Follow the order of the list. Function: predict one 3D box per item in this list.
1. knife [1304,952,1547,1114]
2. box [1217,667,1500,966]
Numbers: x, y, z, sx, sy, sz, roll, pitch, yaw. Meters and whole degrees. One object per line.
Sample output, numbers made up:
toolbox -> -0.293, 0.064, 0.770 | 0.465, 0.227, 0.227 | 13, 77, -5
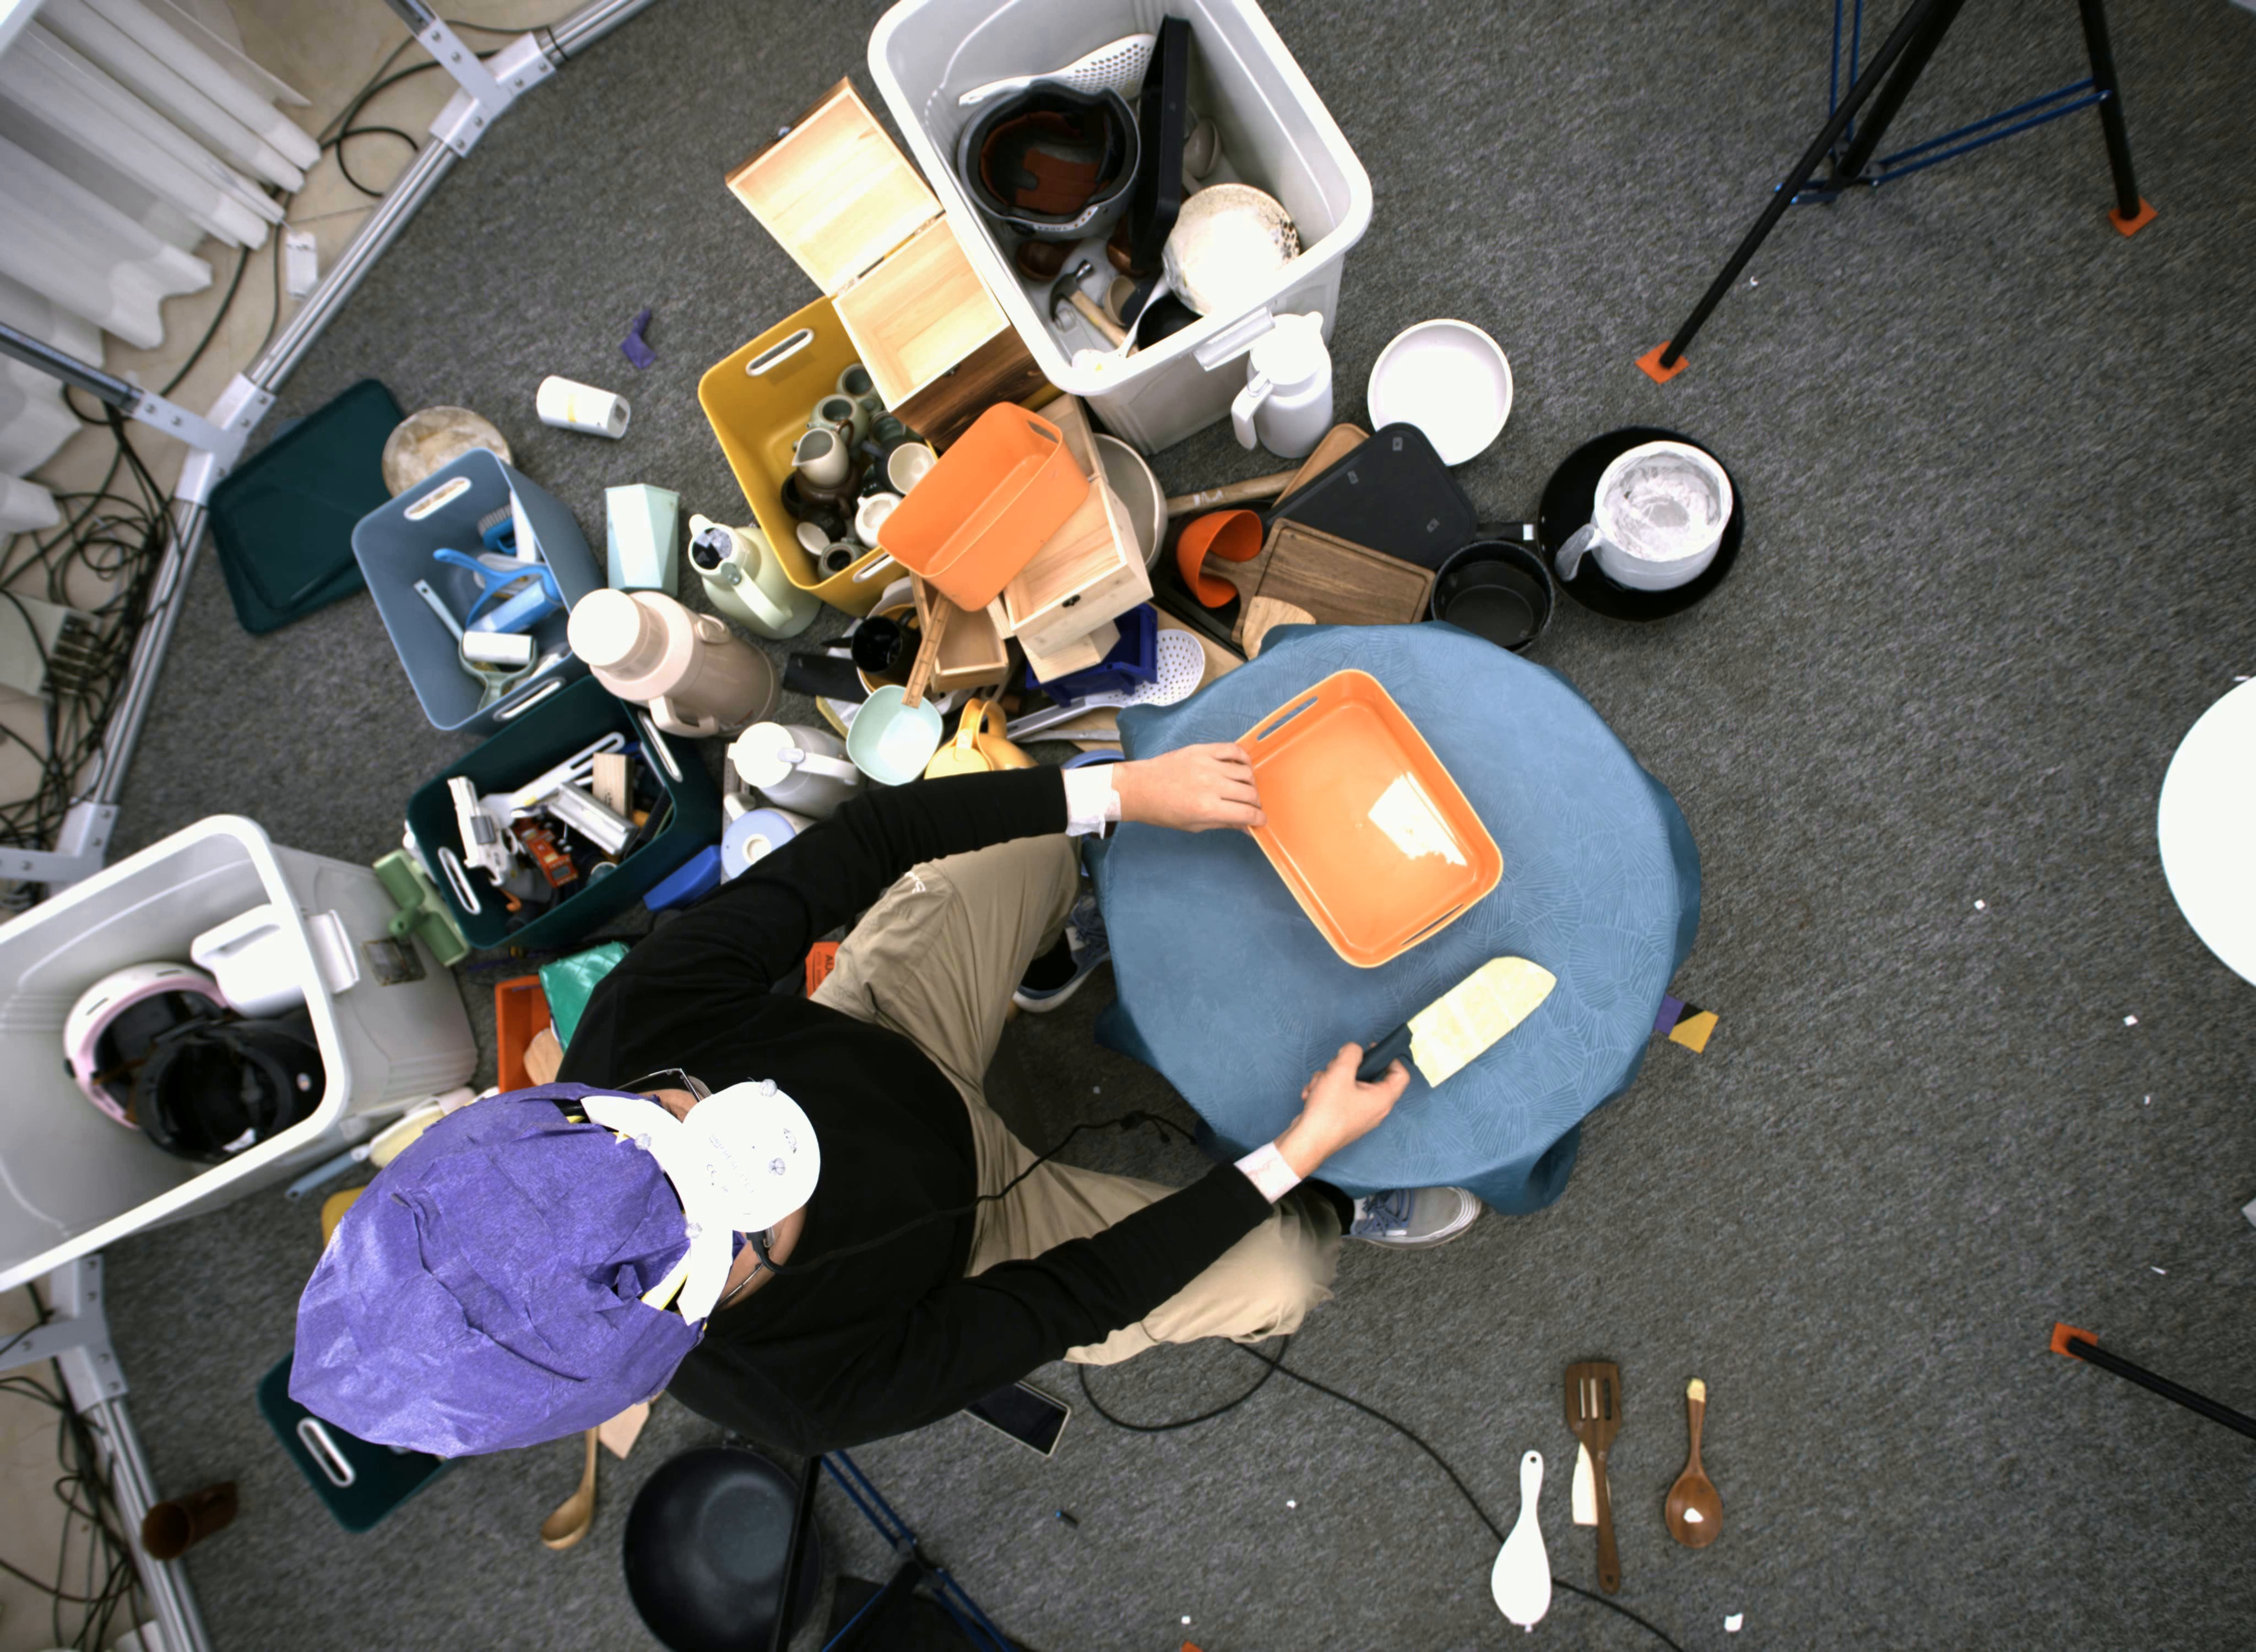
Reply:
knife -> 0.309, 0.217, 1.410 | 0.289, 0.027, 0.081 | -31, 94, -3
box -> 0.234, -0.006, 1.419 | 0.200, 0.102, 0.271 | -35, 81, 6
